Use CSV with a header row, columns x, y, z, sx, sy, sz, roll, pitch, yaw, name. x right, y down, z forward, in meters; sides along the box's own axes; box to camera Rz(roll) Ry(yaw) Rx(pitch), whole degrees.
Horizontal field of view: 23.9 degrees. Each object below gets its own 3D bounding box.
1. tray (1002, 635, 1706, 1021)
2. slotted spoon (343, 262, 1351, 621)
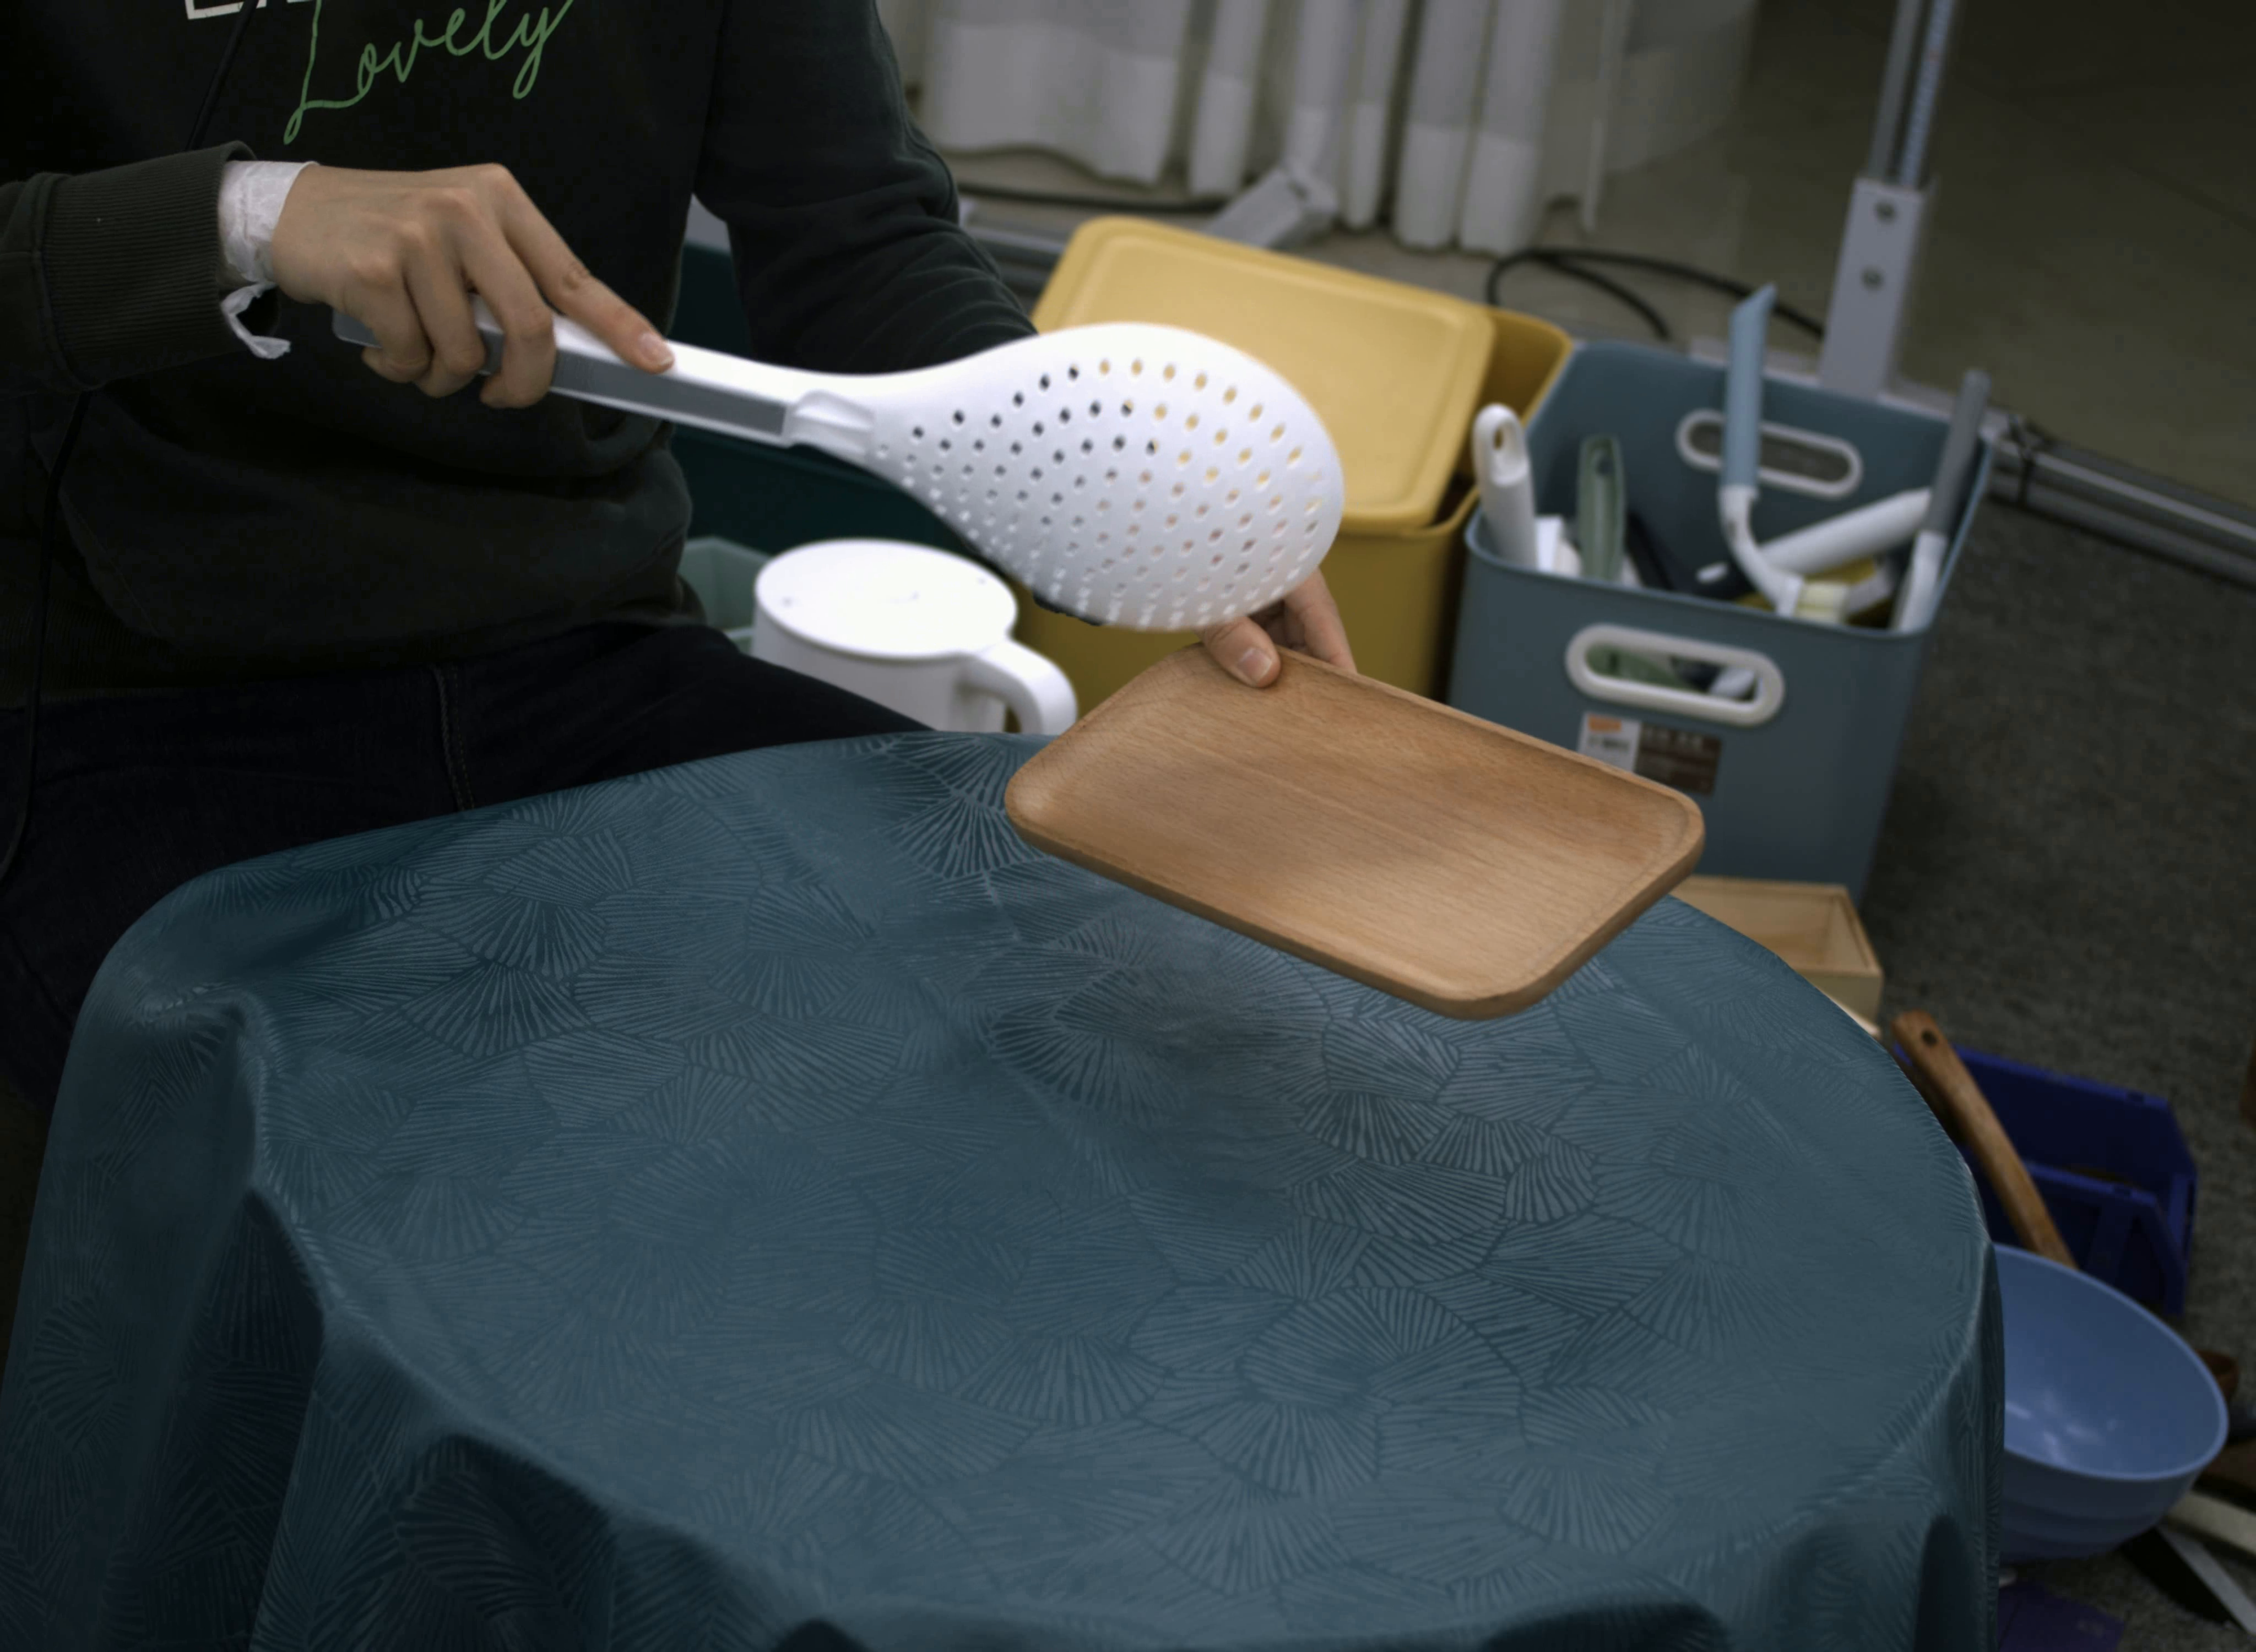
x,y,z,sx,sy,sz,roll,pitch,yaw,name
0.075,-0.001,1.832,0.130,0.023,0.252,-36,38,-30,tray
-0.098,-0.143,1.818,0.349,0.135,0.046,16,43,4,slotted spoon
